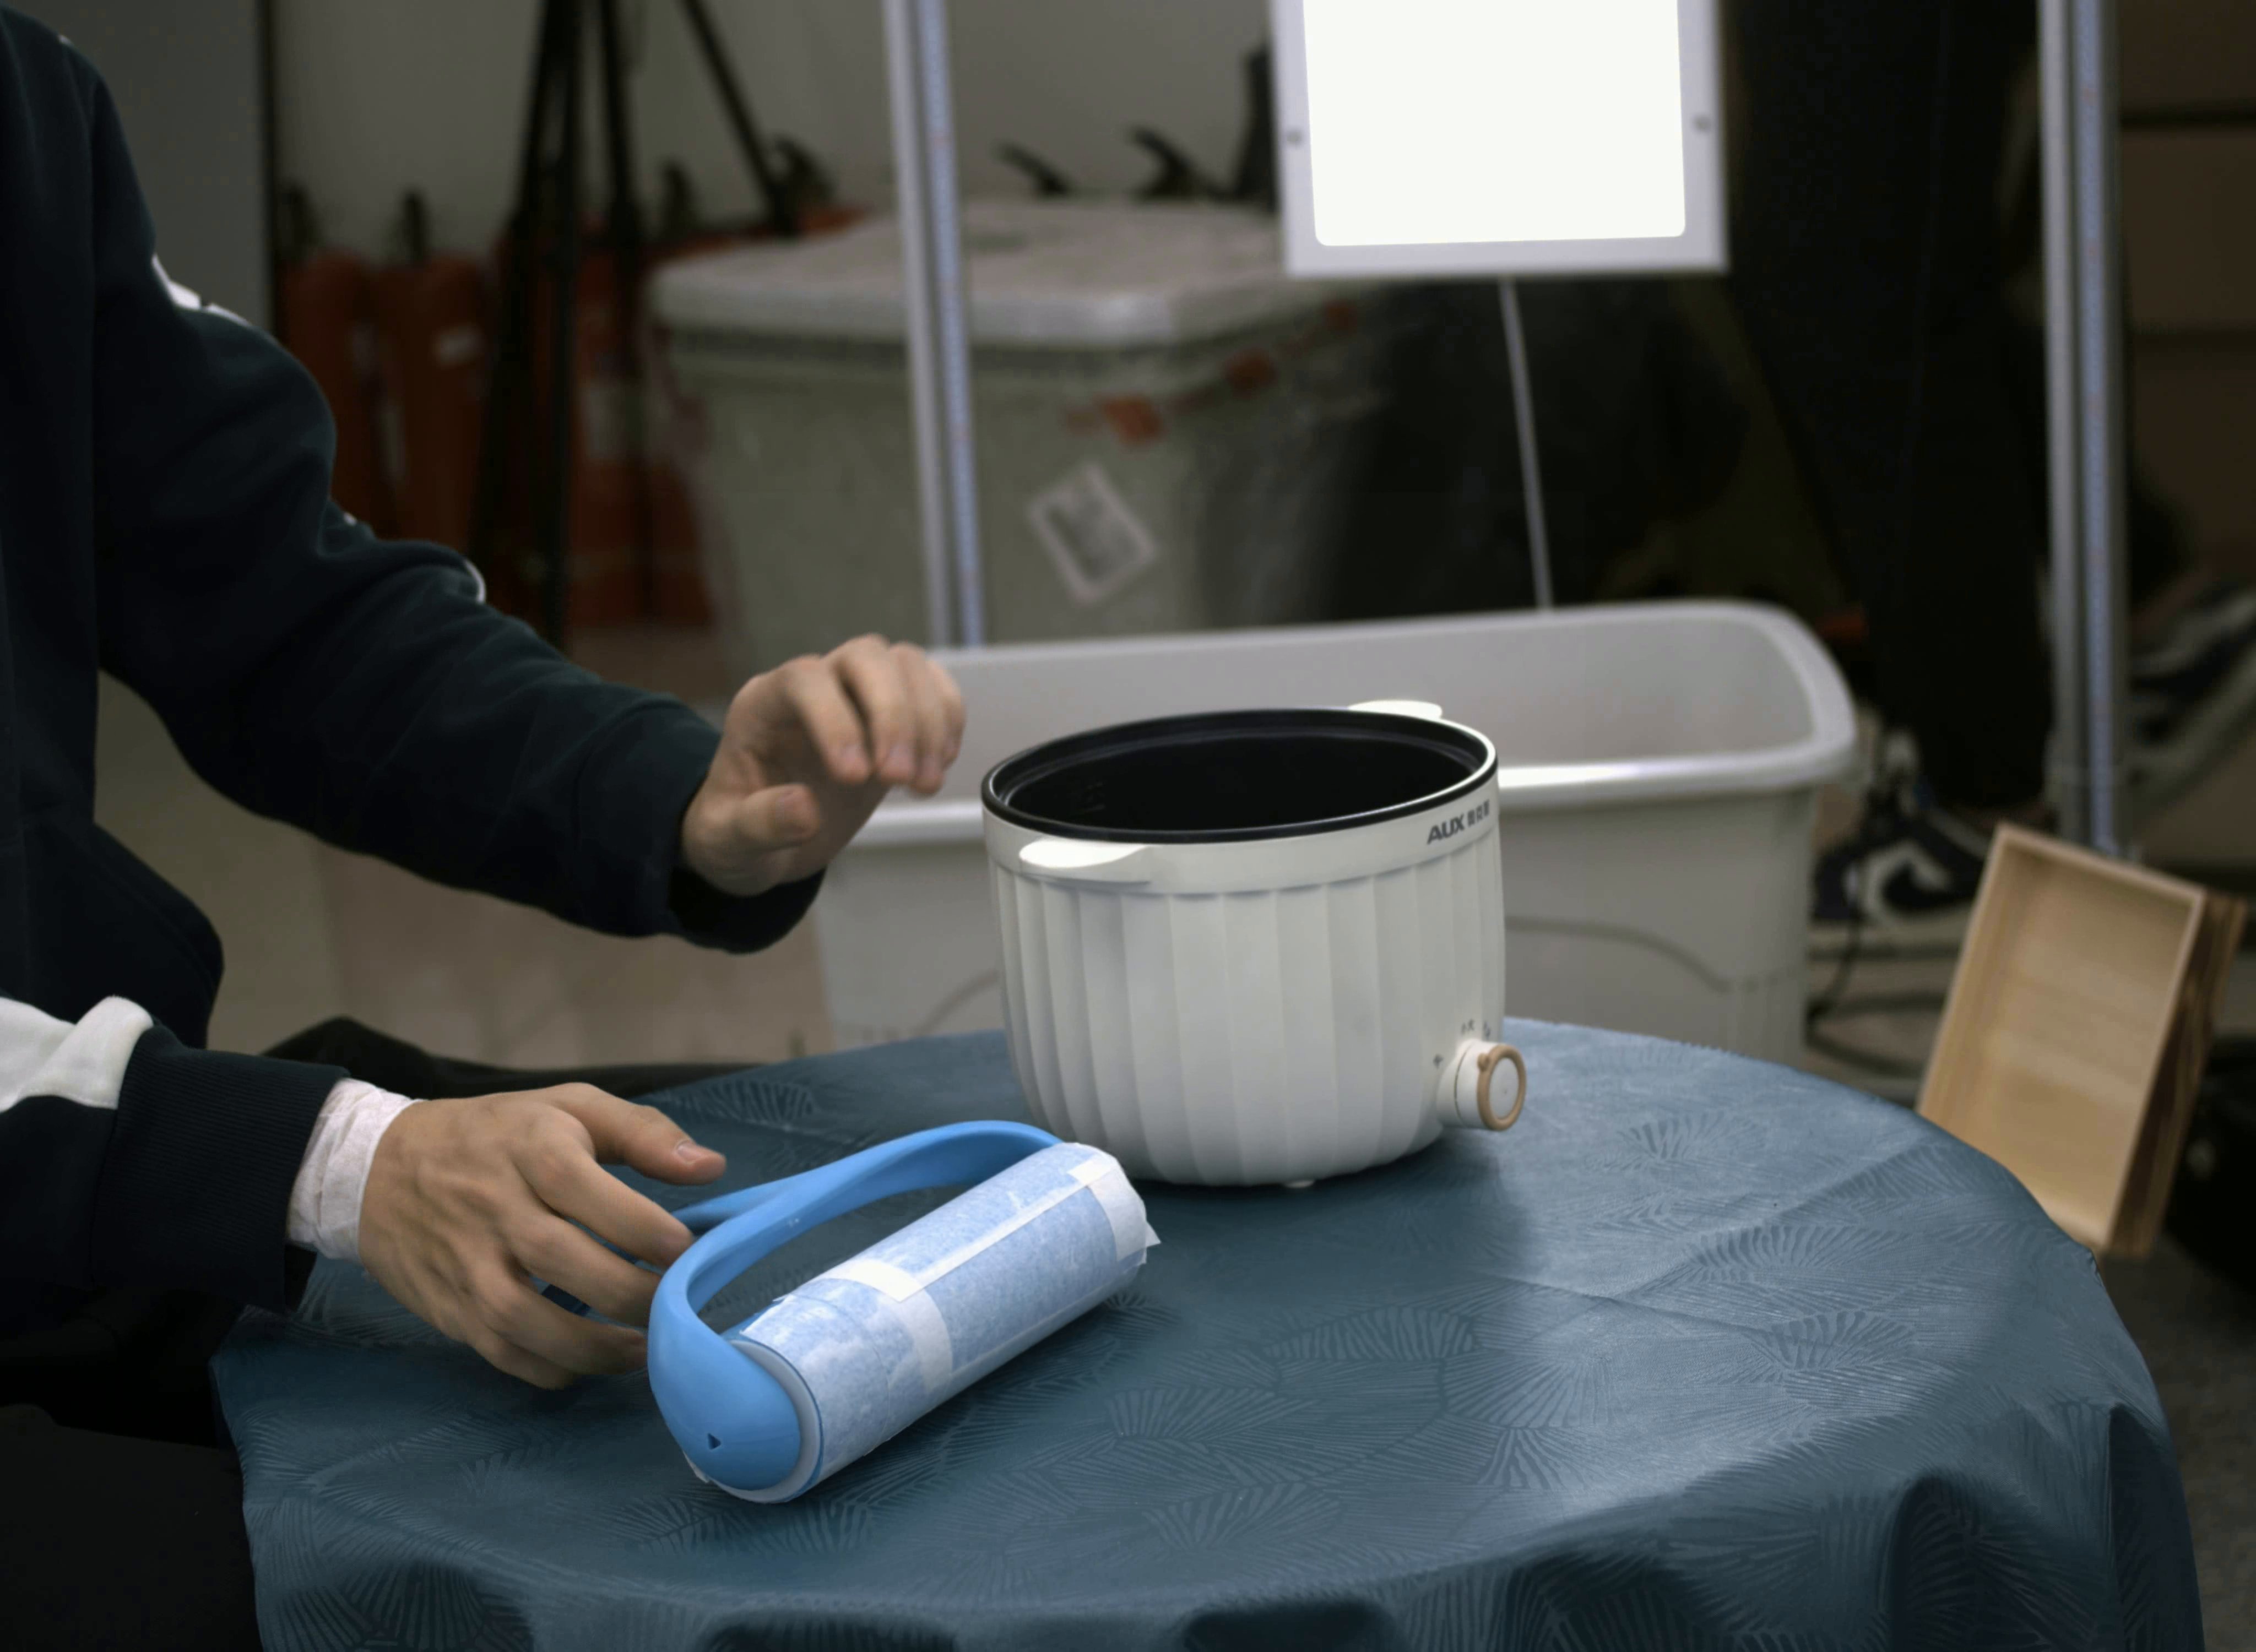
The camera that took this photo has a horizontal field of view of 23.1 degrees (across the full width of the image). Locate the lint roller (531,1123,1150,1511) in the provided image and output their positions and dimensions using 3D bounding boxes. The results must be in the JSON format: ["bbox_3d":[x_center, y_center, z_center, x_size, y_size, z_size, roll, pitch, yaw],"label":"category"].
[{"bbox_3d":[-0.115,0.148,1.733,0.183,0.068,0.224,4,18,28],"label":"lint roller"}]

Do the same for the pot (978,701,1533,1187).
[{"bbox_3d":[0.049,0.044,1.923,0.194,0.143,0.234,1,16,35],"label":"pot"}]
